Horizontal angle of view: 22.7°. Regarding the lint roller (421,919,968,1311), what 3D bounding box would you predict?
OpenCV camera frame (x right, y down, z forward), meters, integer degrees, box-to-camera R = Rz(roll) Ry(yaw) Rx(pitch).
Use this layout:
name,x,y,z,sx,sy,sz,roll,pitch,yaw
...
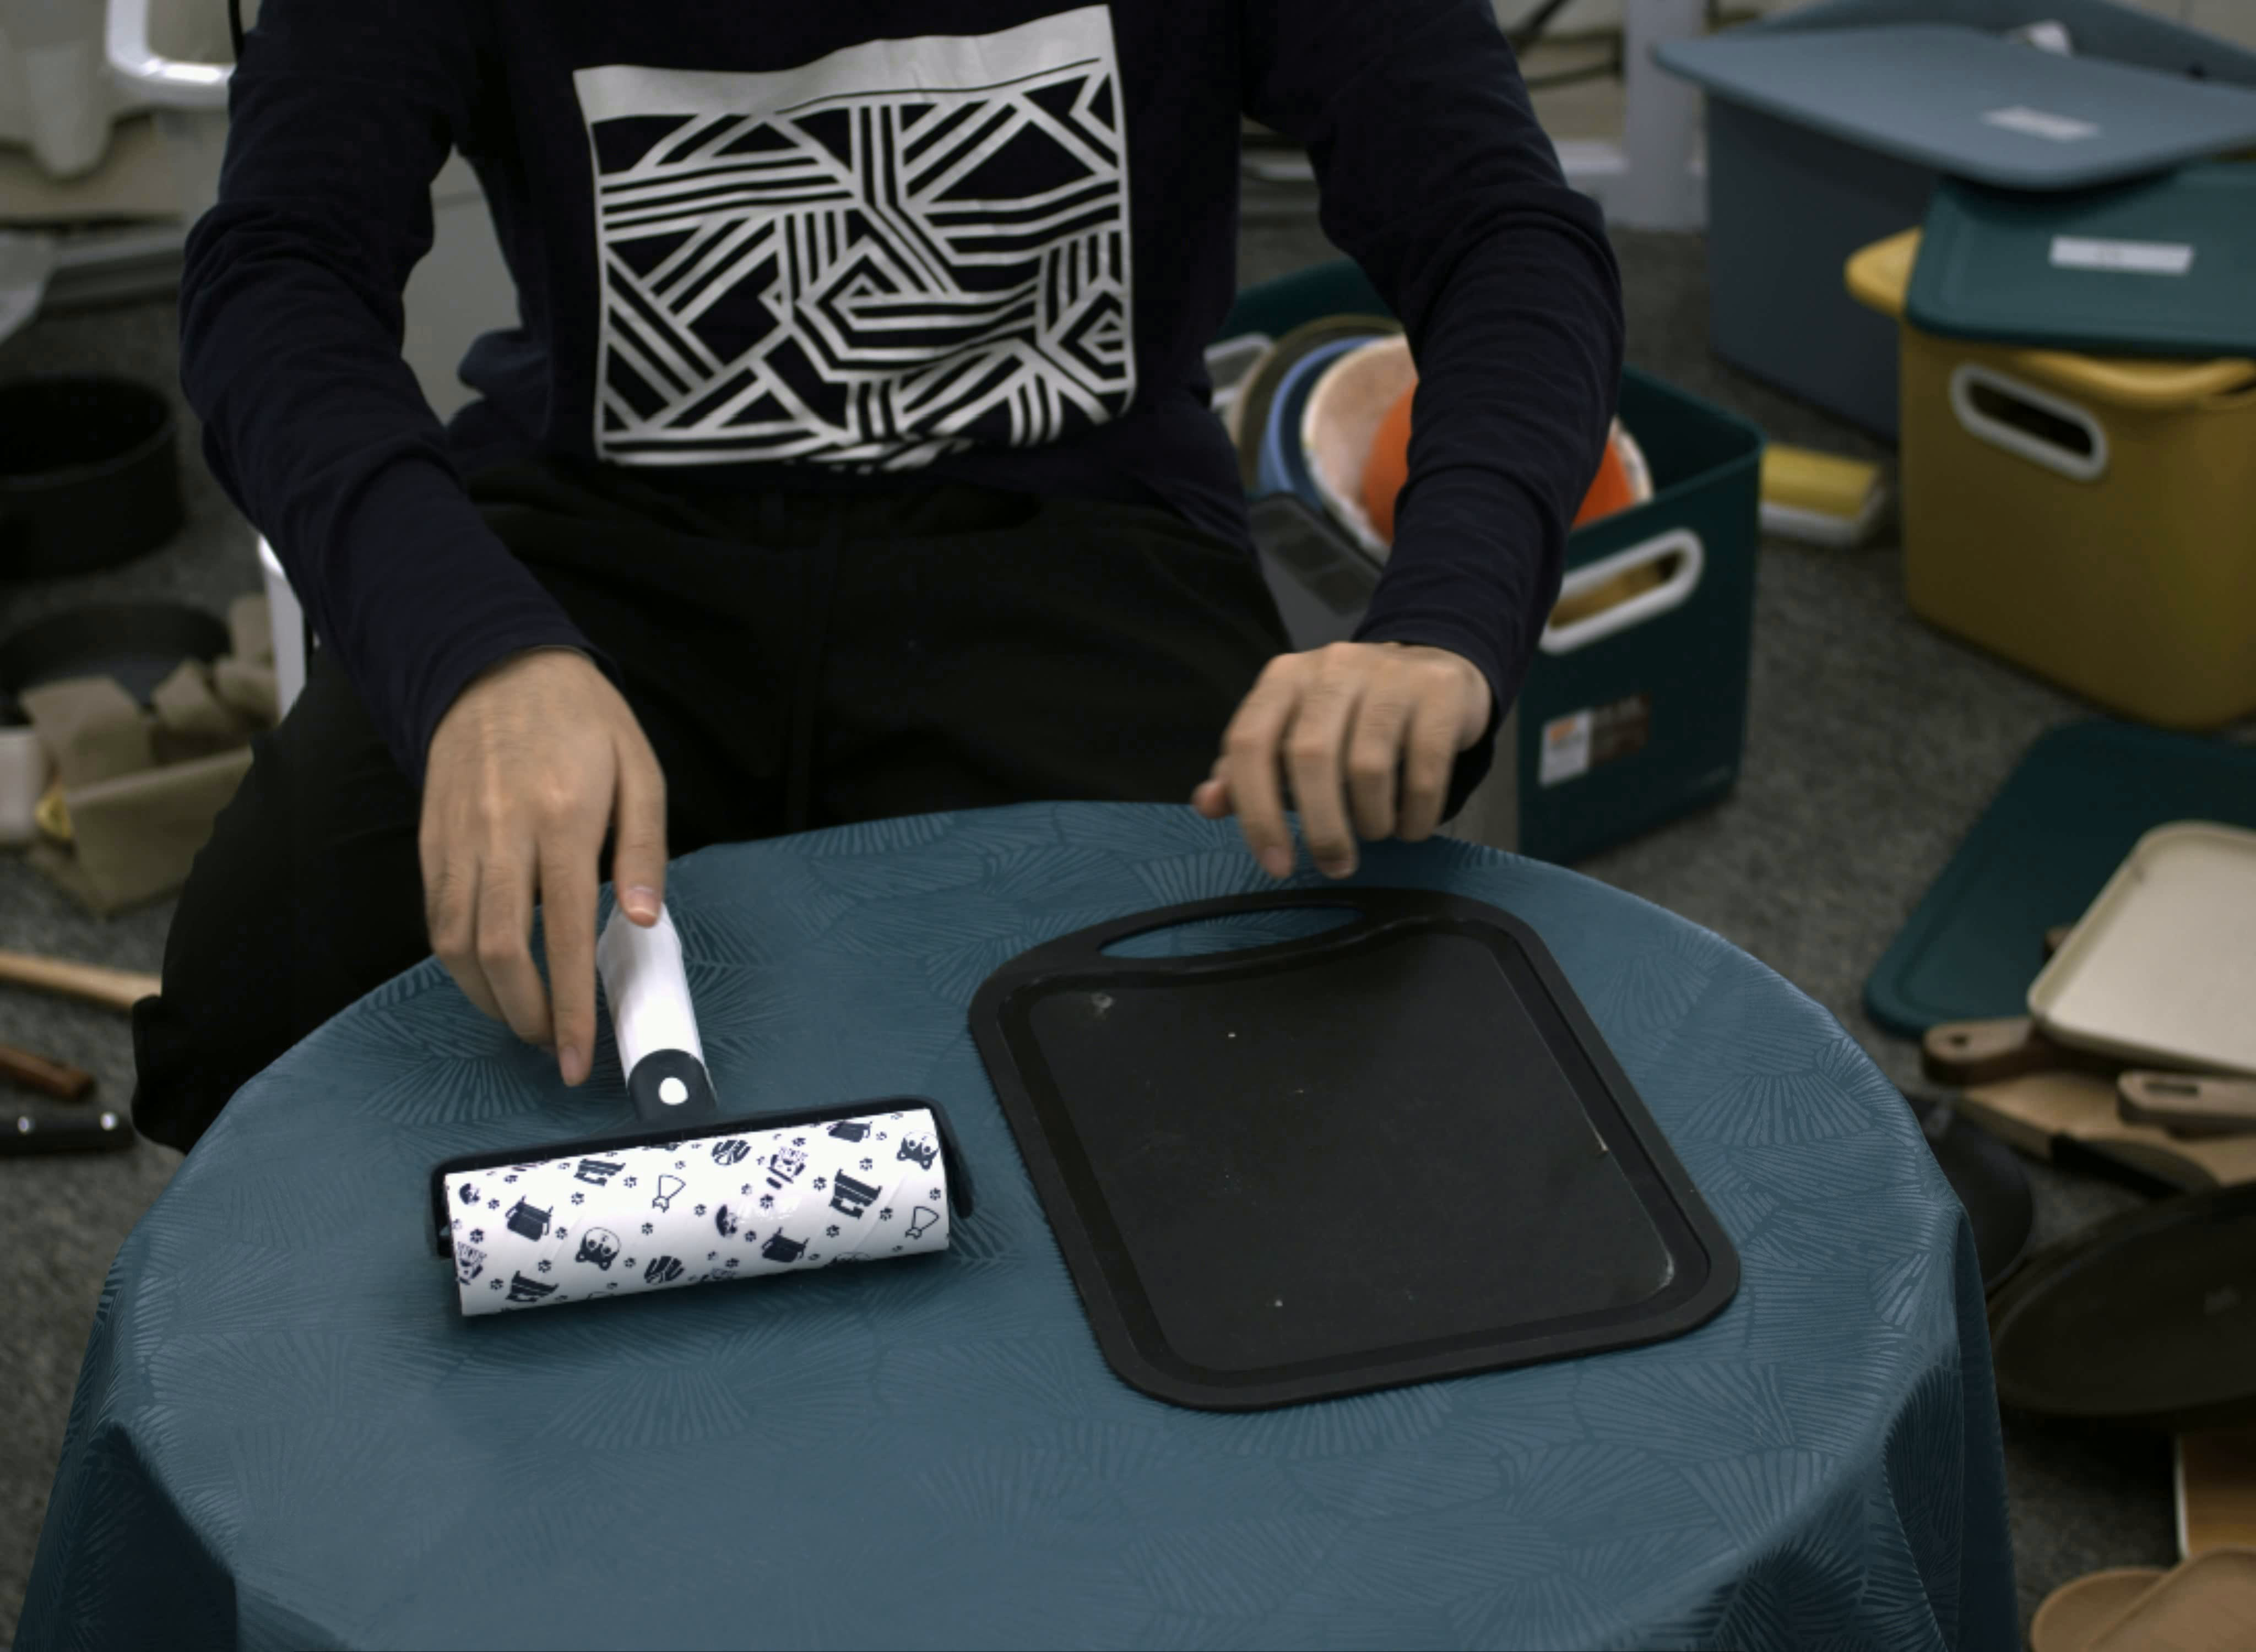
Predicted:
name,x,y,z,sx,sy,sz,roll,pitch,yaw
lint roller,-0.159,0.083,1.908,0.176,0.050,0.249,-8,25,-8

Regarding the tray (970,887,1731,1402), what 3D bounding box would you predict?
name,x,y,z,sx,sy,sz,roll,pitch,yaw
tray,0.066,0.098,1.894,0.211,0.009,0.329,-7,28,-10
